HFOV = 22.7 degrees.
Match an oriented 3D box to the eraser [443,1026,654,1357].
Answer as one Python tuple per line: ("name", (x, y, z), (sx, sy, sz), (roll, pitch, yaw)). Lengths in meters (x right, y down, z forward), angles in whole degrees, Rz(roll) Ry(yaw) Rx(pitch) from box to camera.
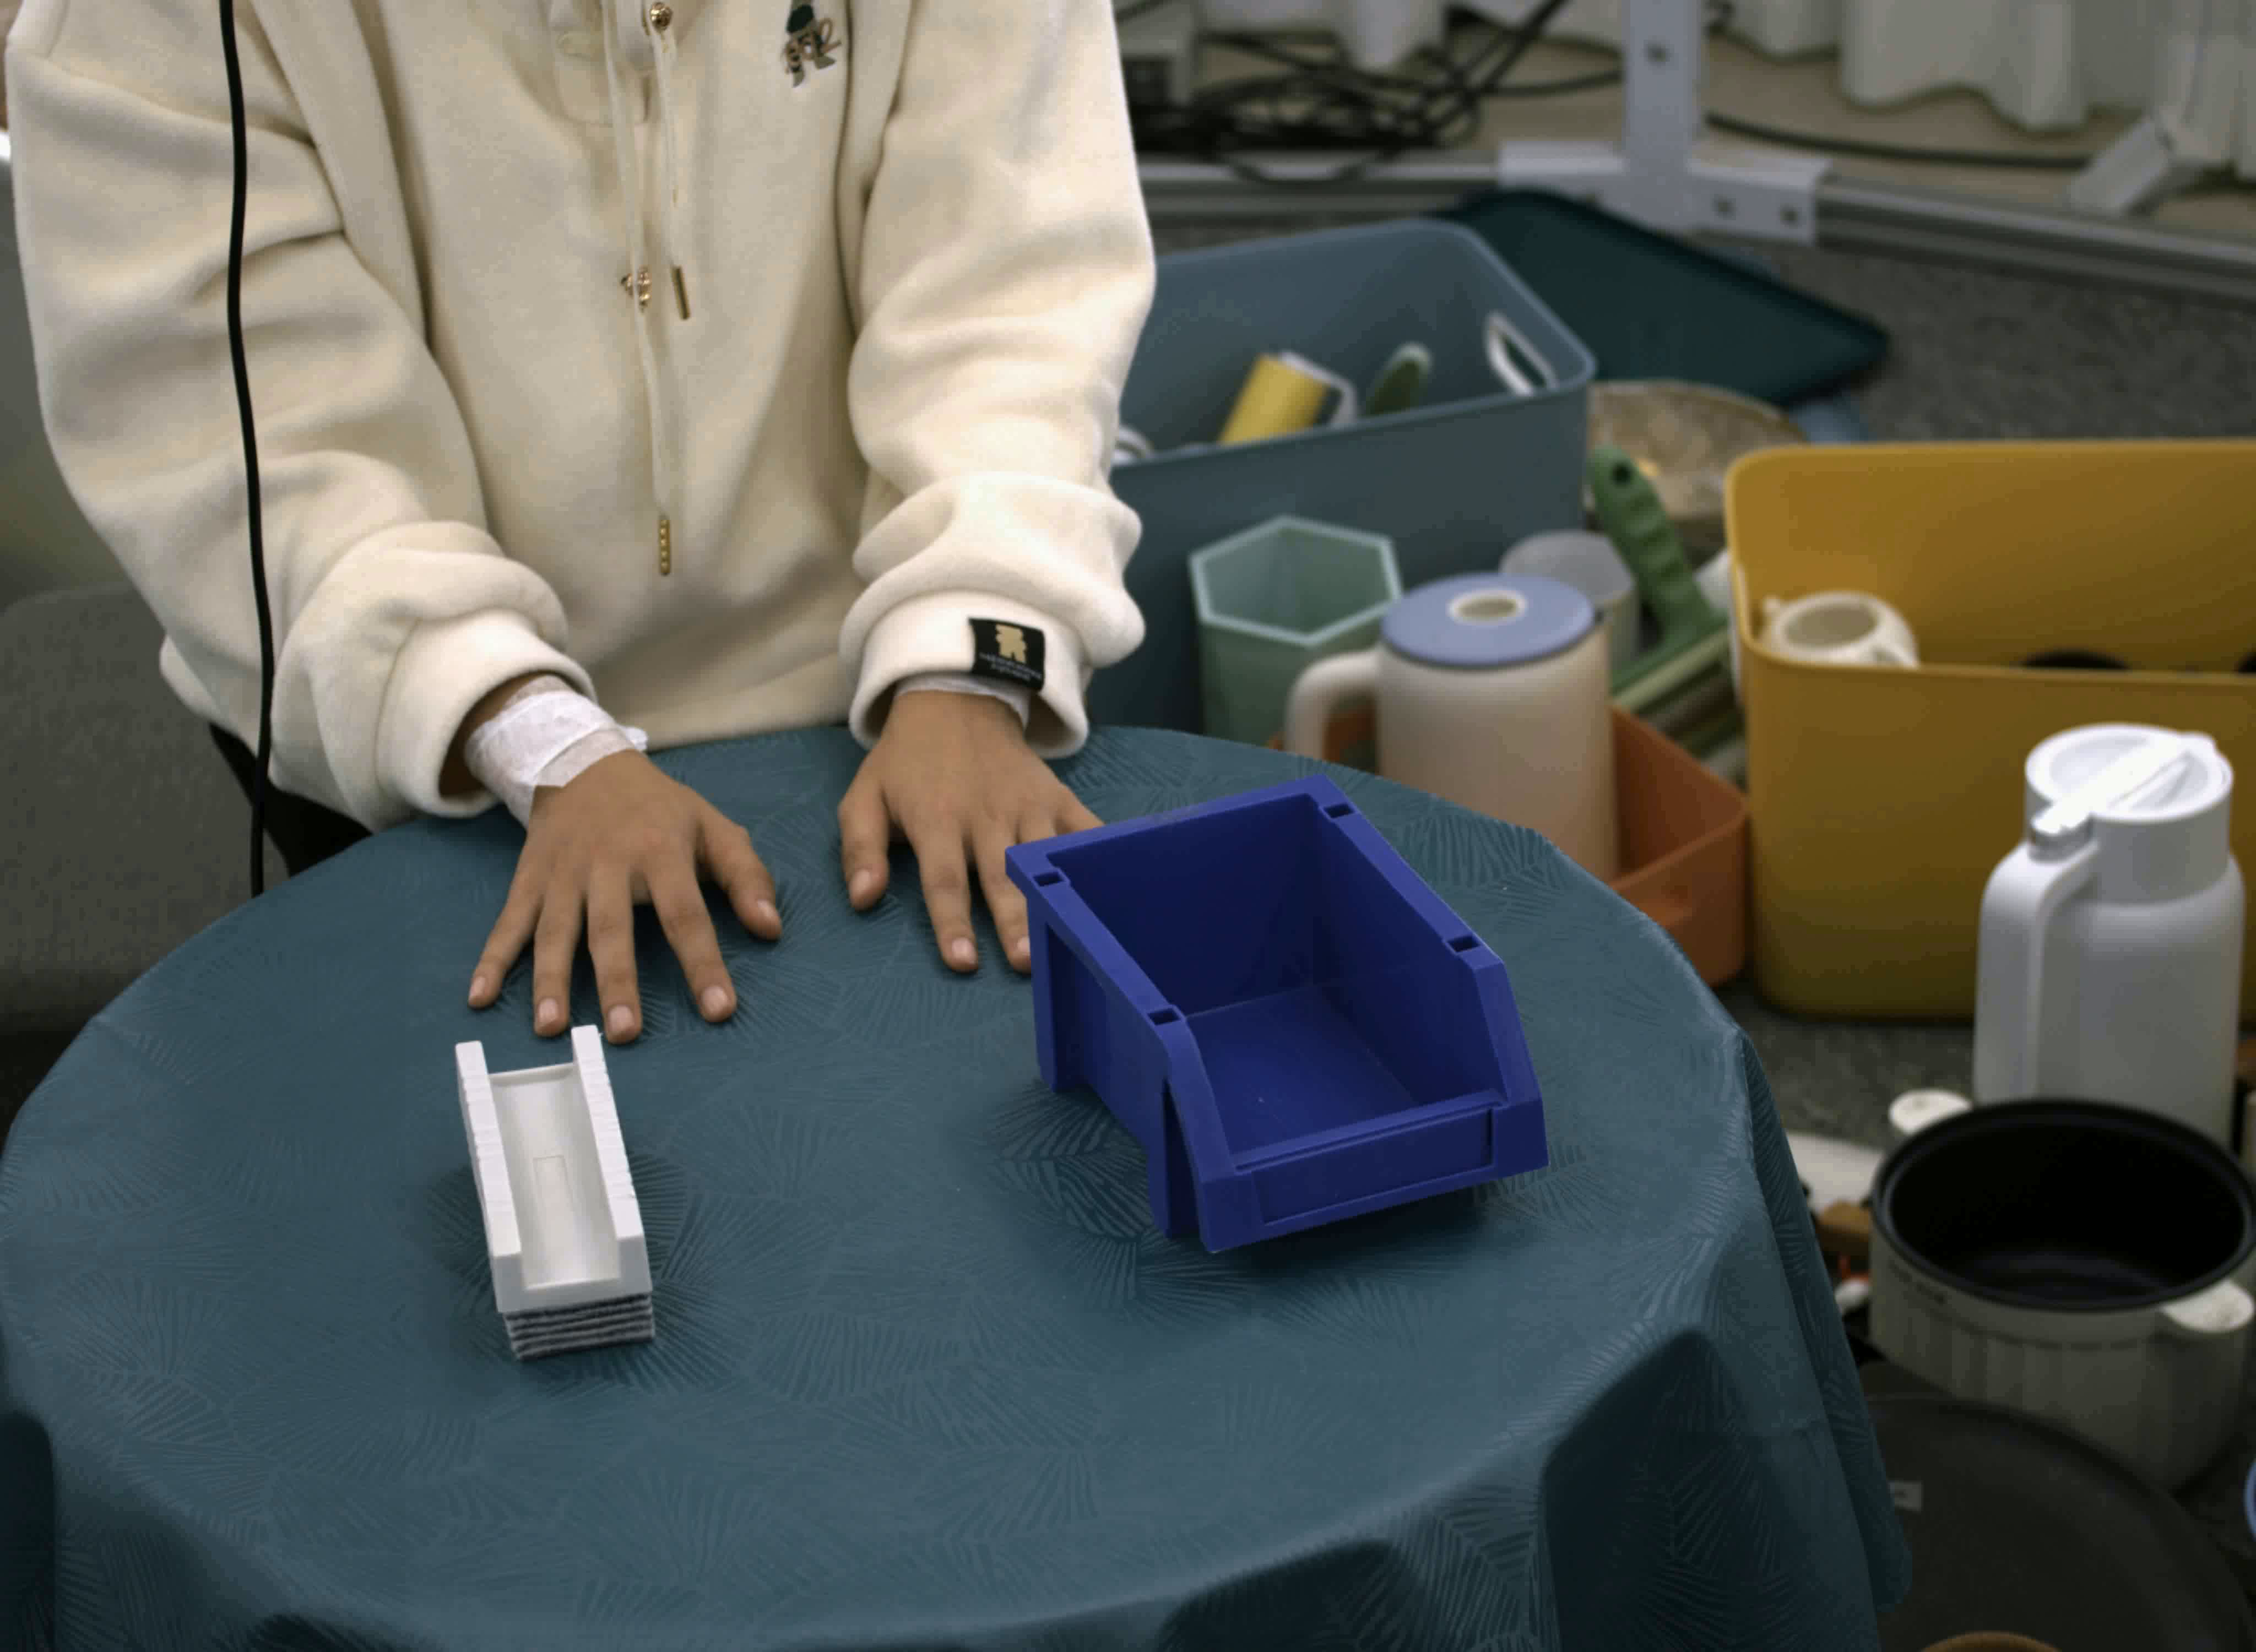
("eraser", (-0.190, 0.119, 1.834), (0.050, 0.046, 0.136), (-10, 30, -10))

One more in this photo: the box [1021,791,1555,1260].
("box", (0.053, 0.070, 1.868), (0.125, 0.081, 0.181), (-12, 26, -16))
